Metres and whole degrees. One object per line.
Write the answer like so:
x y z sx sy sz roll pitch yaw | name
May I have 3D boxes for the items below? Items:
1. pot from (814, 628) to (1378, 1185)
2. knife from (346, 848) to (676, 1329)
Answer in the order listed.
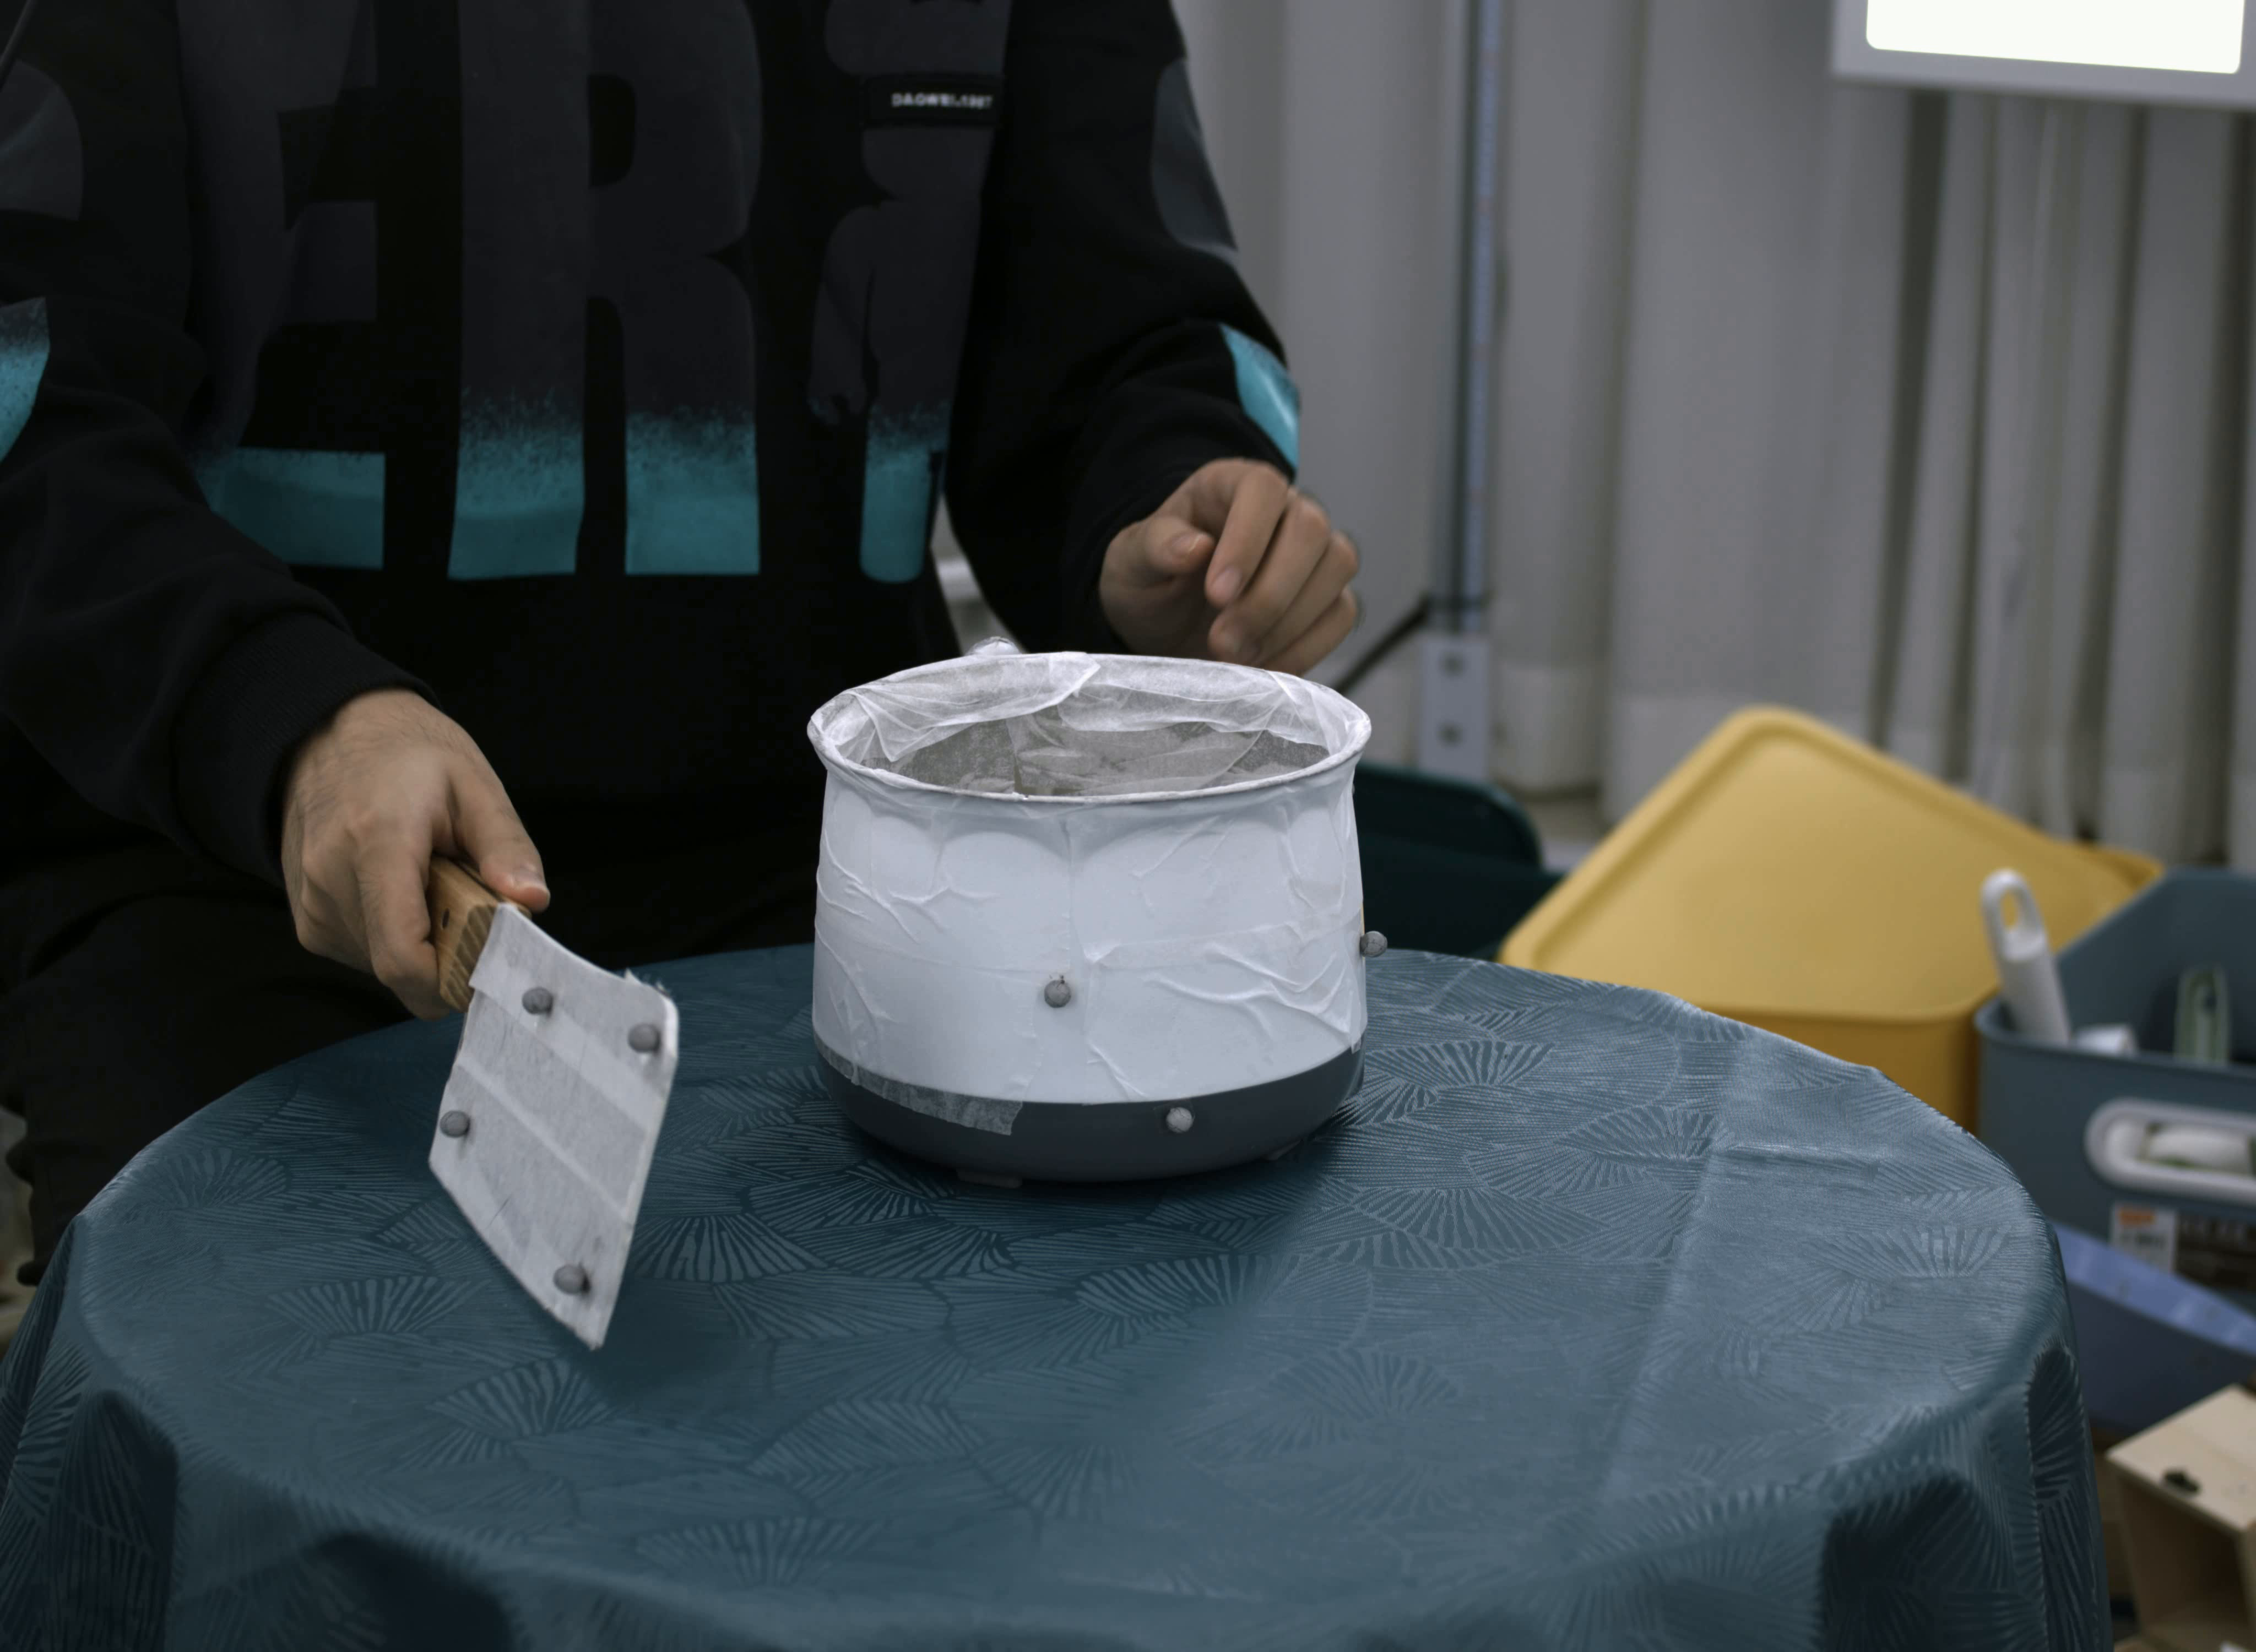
-0.021 0.020 1.691 0.179 0.138 0.231 -5 18 -20 | pot
-0.188 0.061 1.575 0.022 0.114 0.312 14 10 -24 | knife
